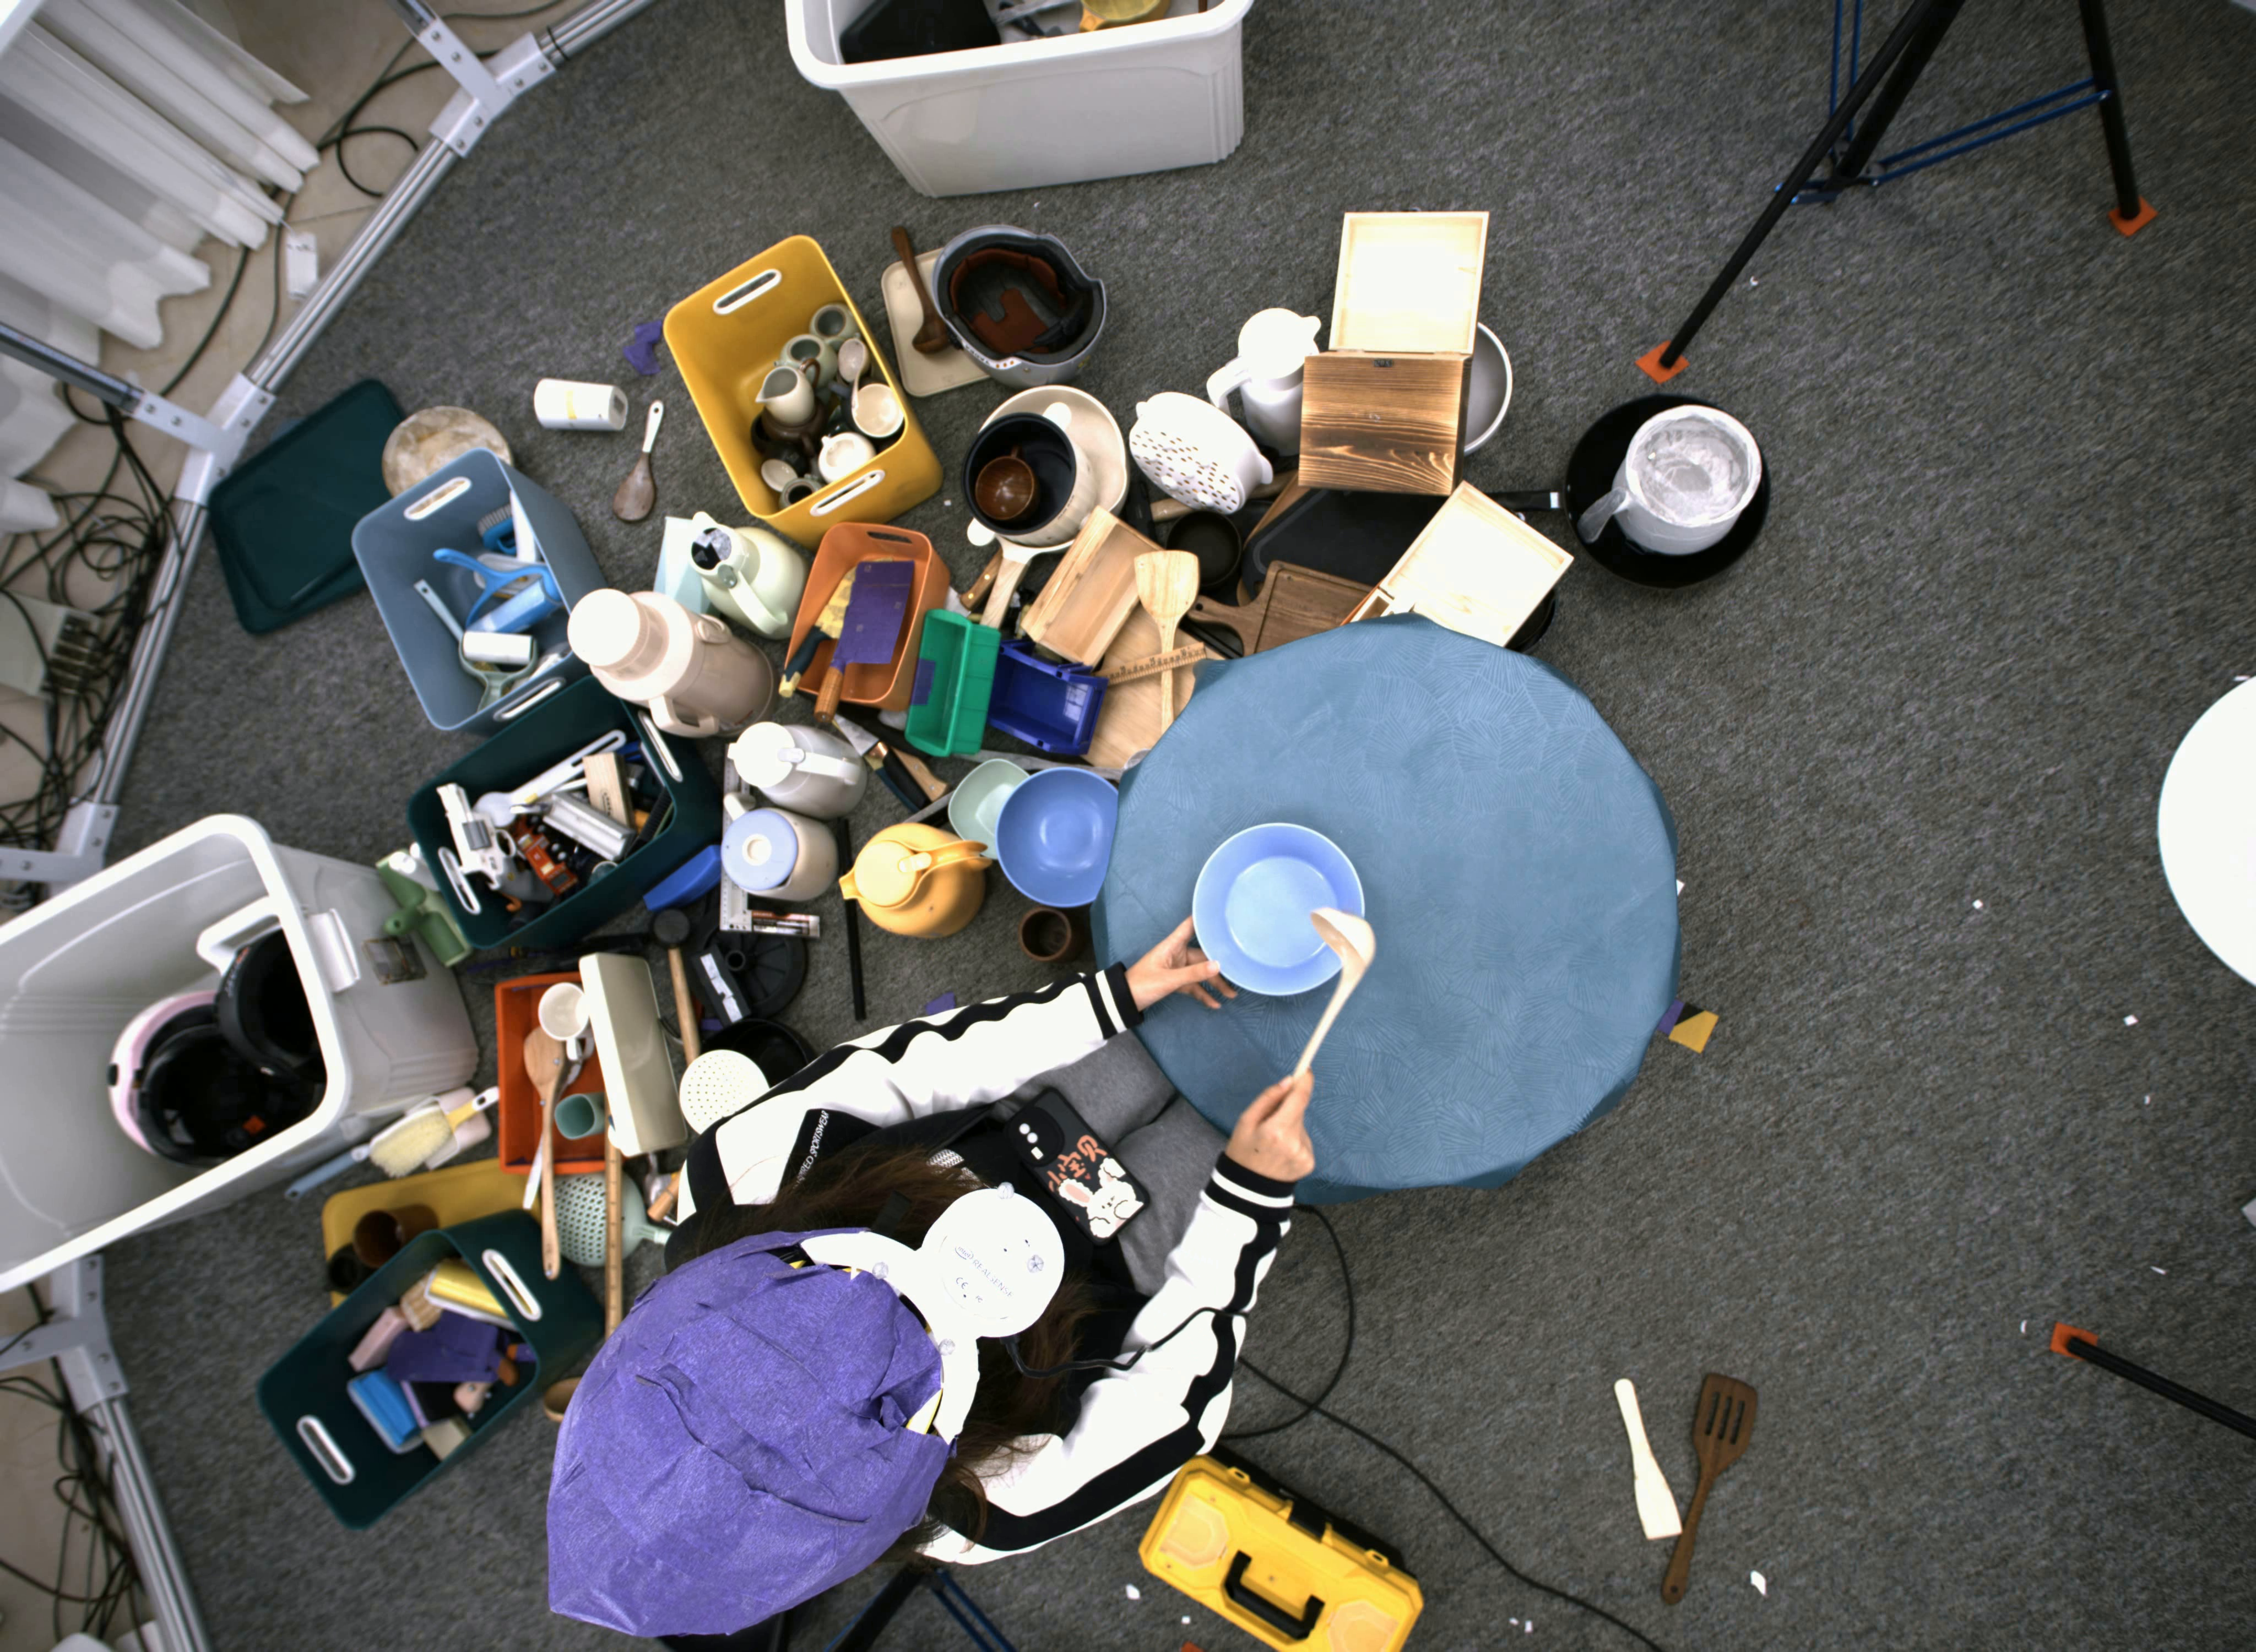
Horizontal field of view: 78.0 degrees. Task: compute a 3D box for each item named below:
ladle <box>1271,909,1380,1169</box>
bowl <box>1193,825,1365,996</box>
[{"bbox_3d":[0.165,0.201,1.322,0.073,0.072,0.254,23,92,-28],"label":"ladle"},{"bbox_3d":[0.159,0.089,1.445,0.177,0.070,0.175,-1,85,11],"label":"bowl"}]
